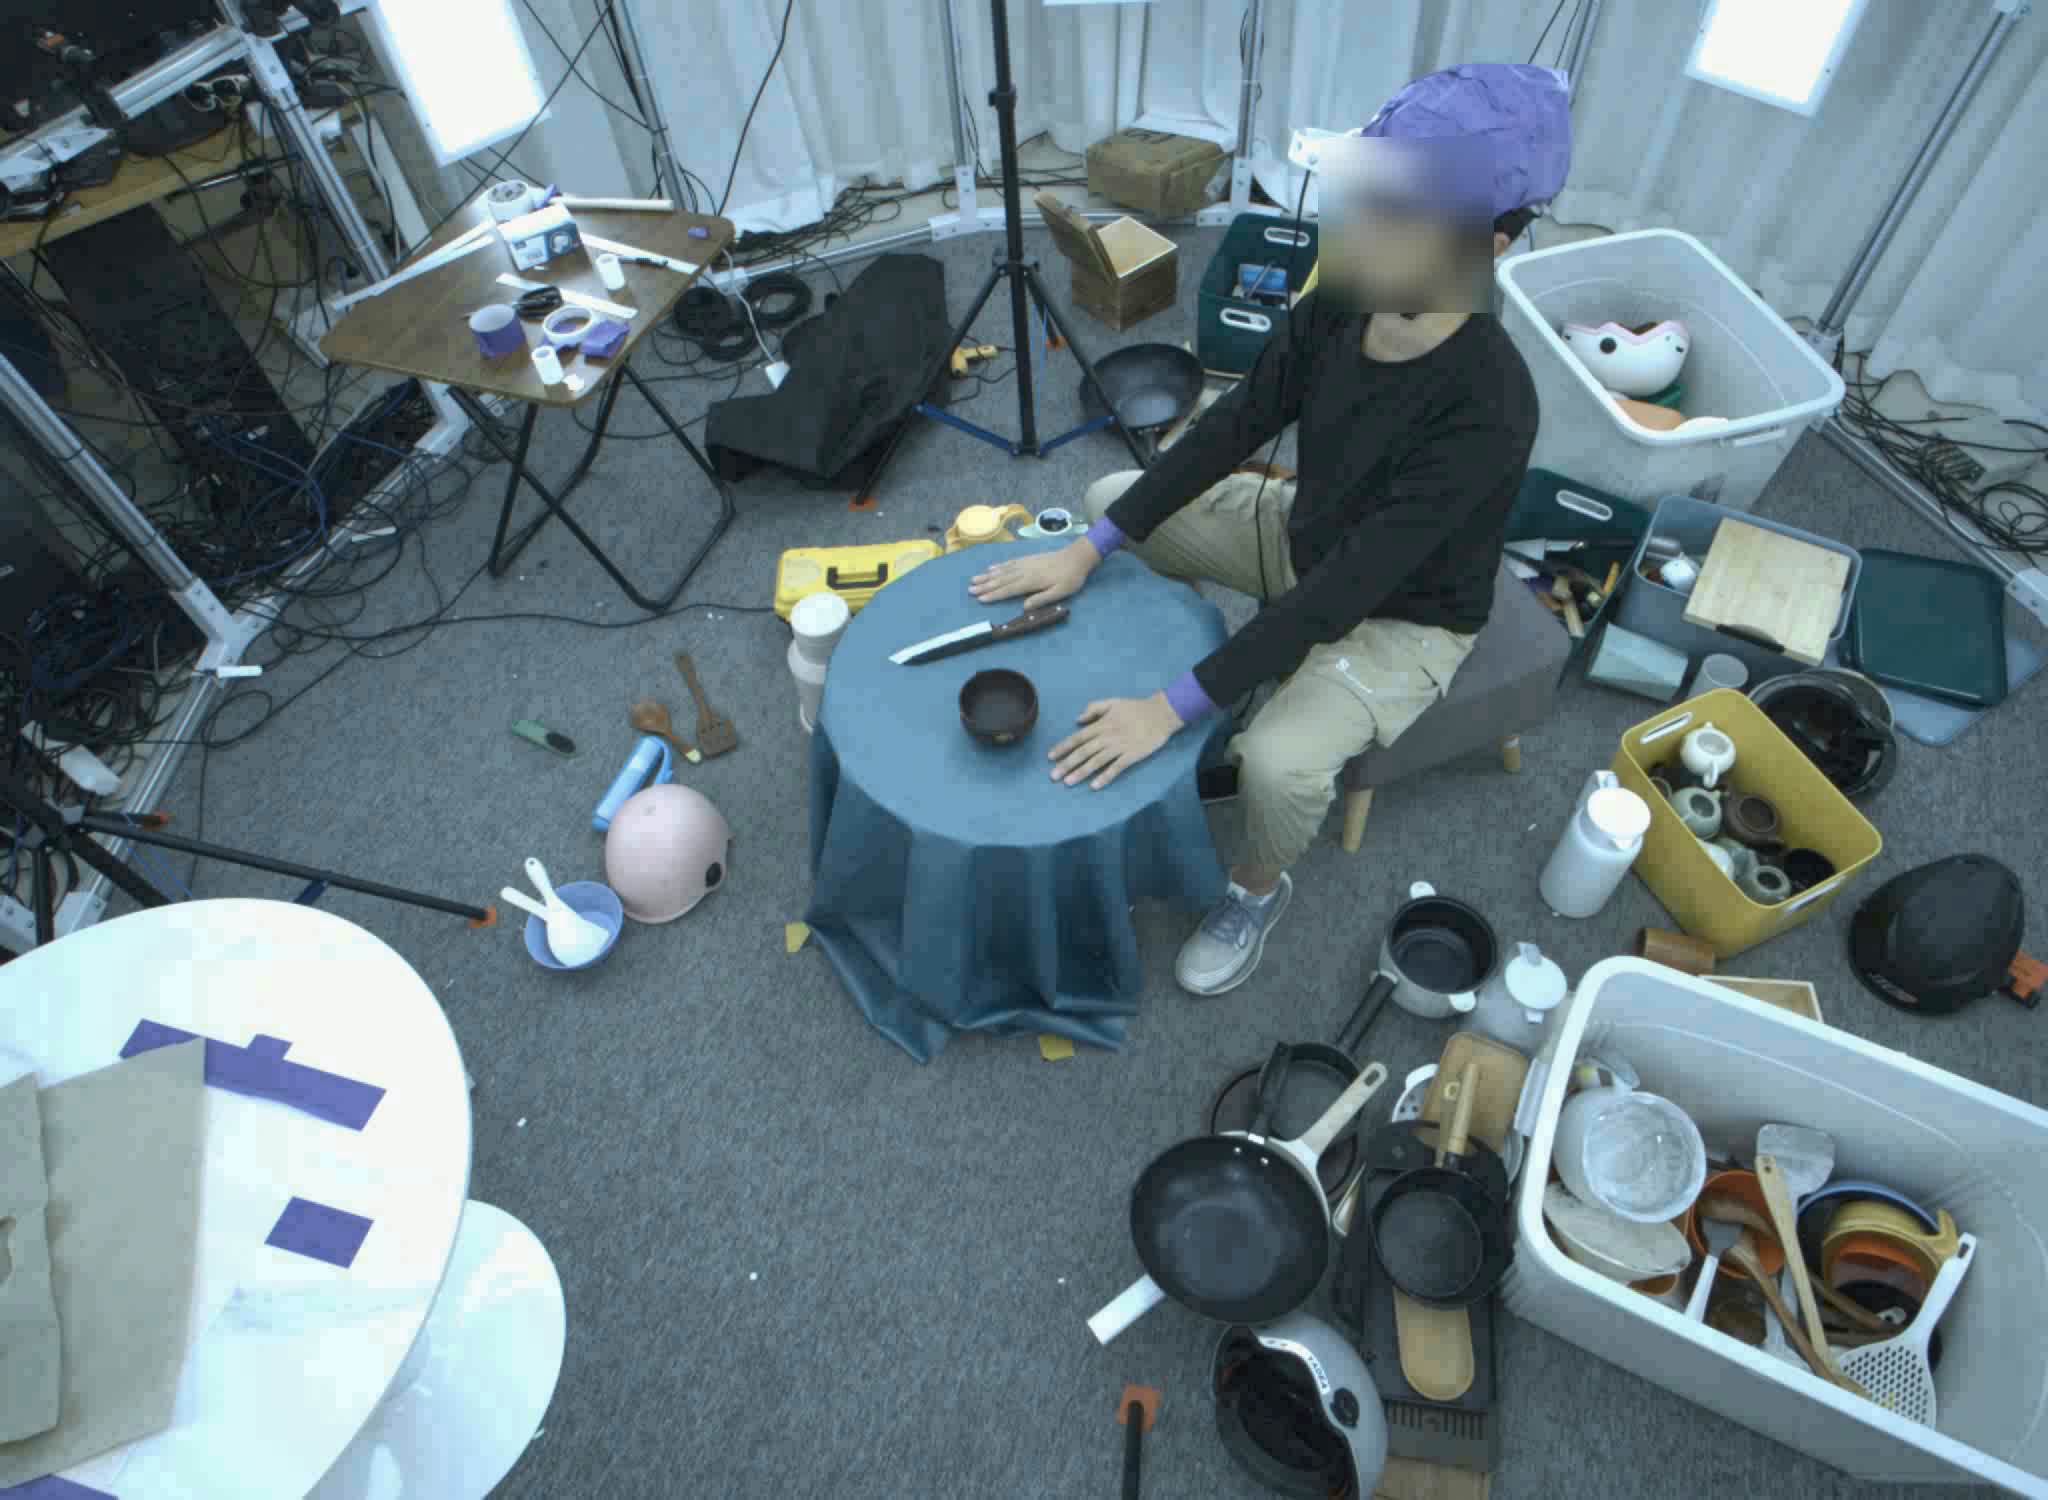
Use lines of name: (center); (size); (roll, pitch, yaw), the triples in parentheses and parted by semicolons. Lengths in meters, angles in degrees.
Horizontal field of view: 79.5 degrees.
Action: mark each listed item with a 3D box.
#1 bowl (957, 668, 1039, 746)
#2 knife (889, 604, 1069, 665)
bowl: (-0.036, -0.054, 1.780); (0.118, 0.070, 0.117); (0, 53, 1)
knife: (-0.071, -0.178, 1.904); (0.290, 0.020, 0.049); (-16, 51, -7)
